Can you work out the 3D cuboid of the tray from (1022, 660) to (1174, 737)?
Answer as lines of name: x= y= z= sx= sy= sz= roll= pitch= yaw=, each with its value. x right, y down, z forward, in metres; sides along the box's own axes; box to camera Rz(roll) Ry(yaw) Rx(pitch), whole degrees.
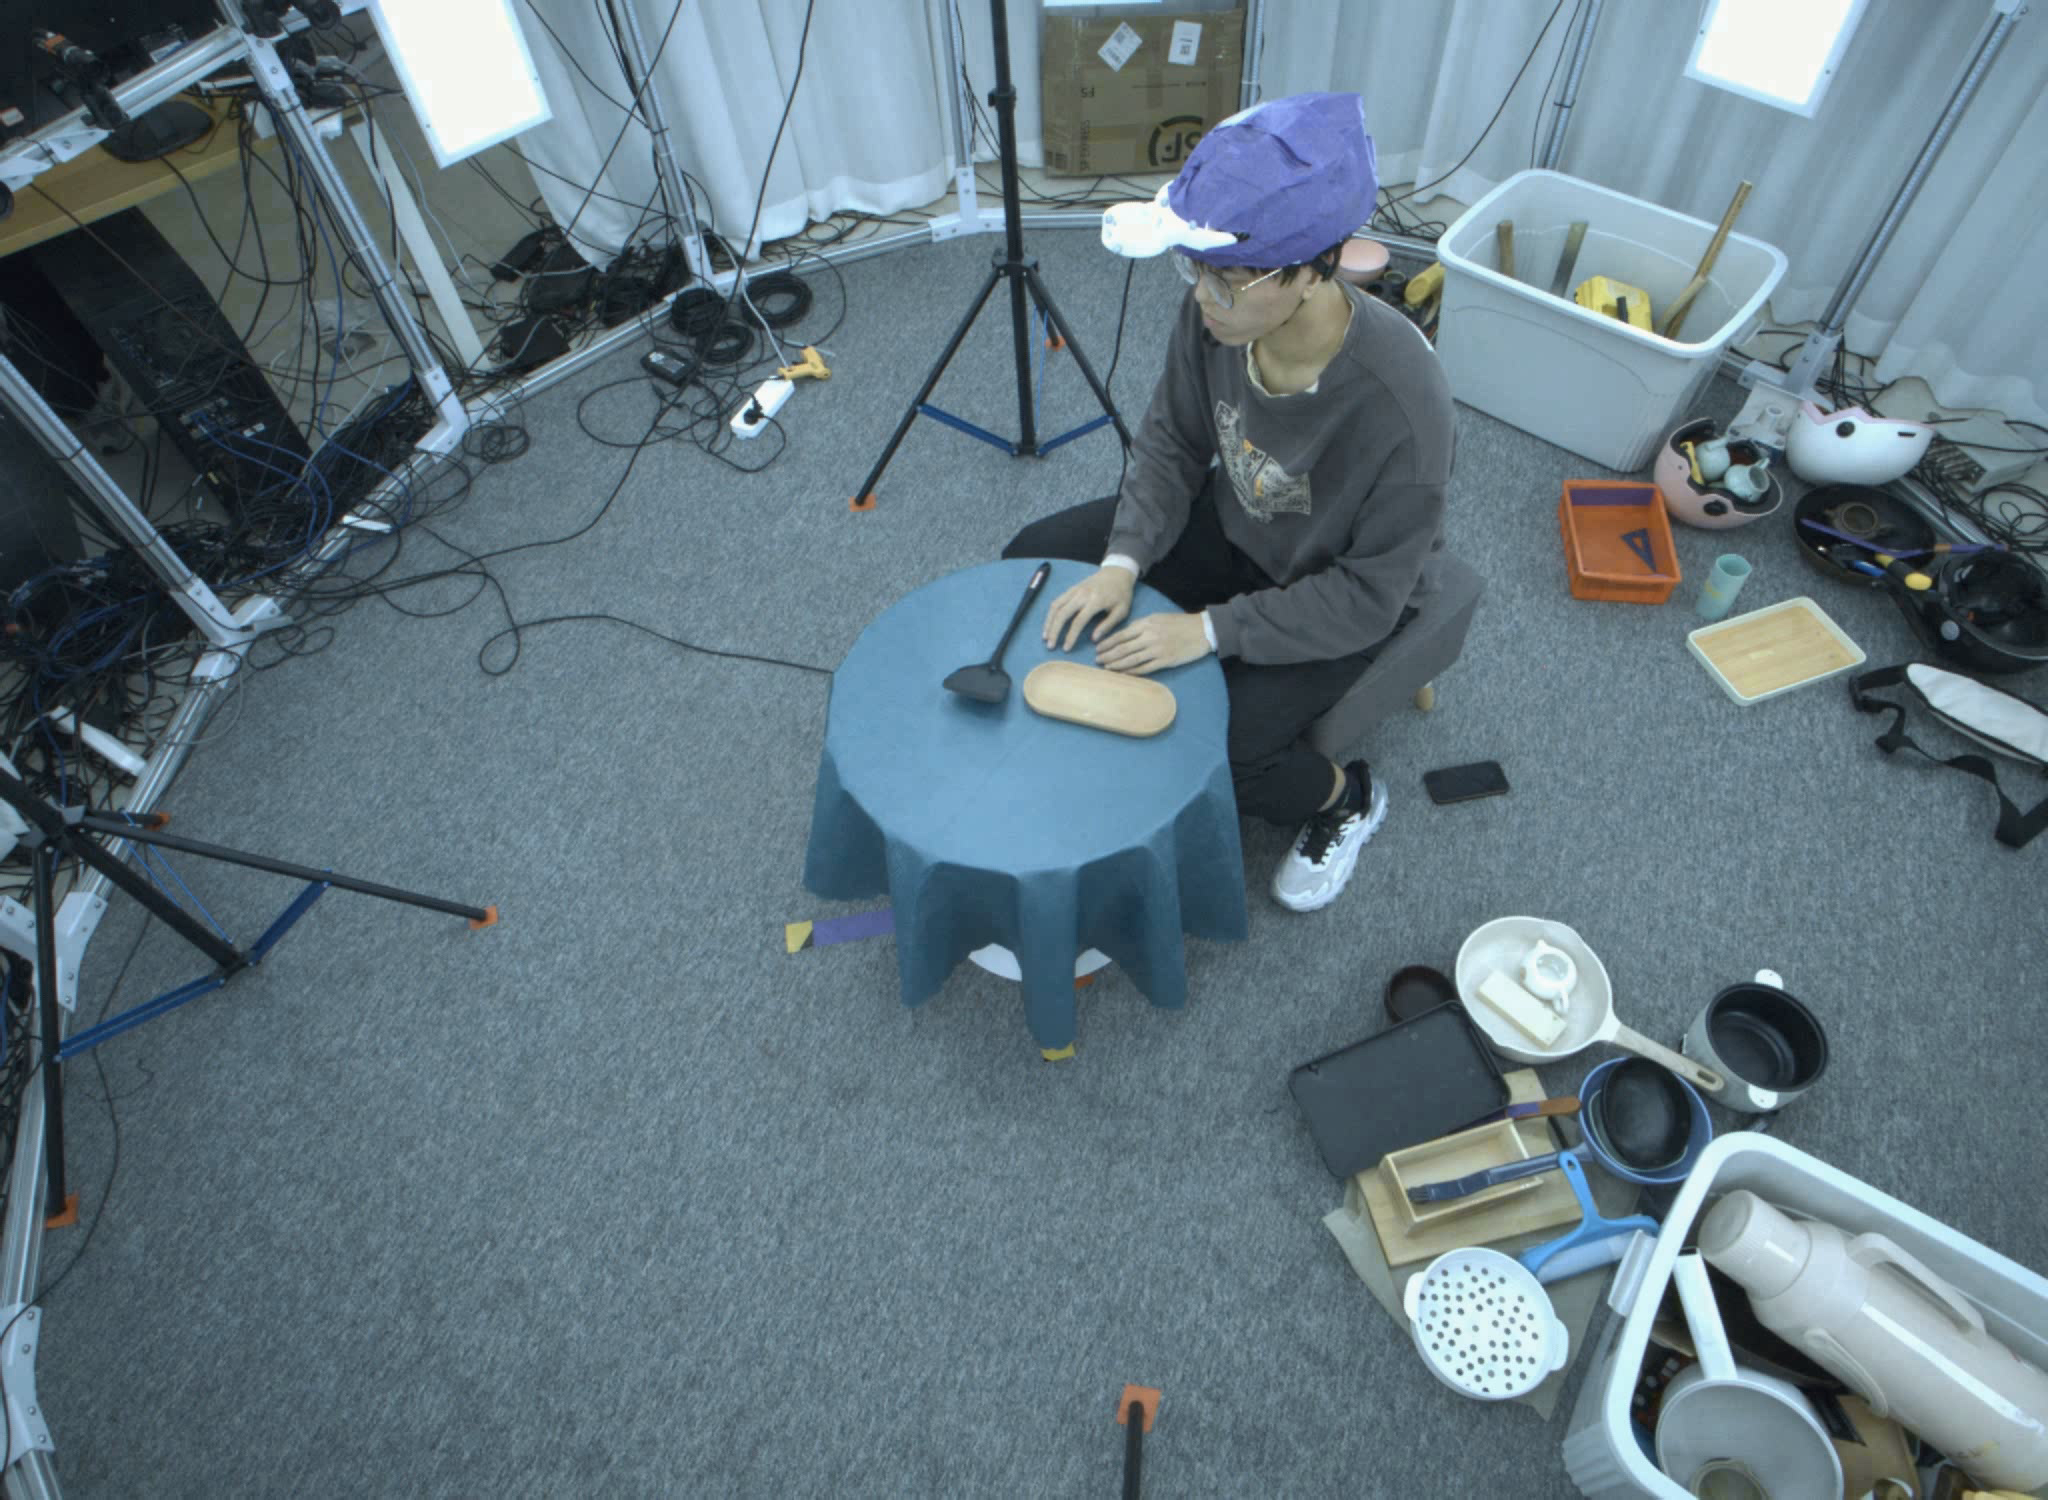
tray: x=0.109 y=-0.076 z=1.826 sx=0.229 sy=0.020 sz=0.101 roll=13 pitch=55 yaw=12

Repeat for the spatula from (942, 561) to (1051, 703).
spatula: x=-0.021 y=-0.191 z=1.900 sx=0.099 sy=0.041 sz=0.326 roll=17 pitch=57 yaw=13
